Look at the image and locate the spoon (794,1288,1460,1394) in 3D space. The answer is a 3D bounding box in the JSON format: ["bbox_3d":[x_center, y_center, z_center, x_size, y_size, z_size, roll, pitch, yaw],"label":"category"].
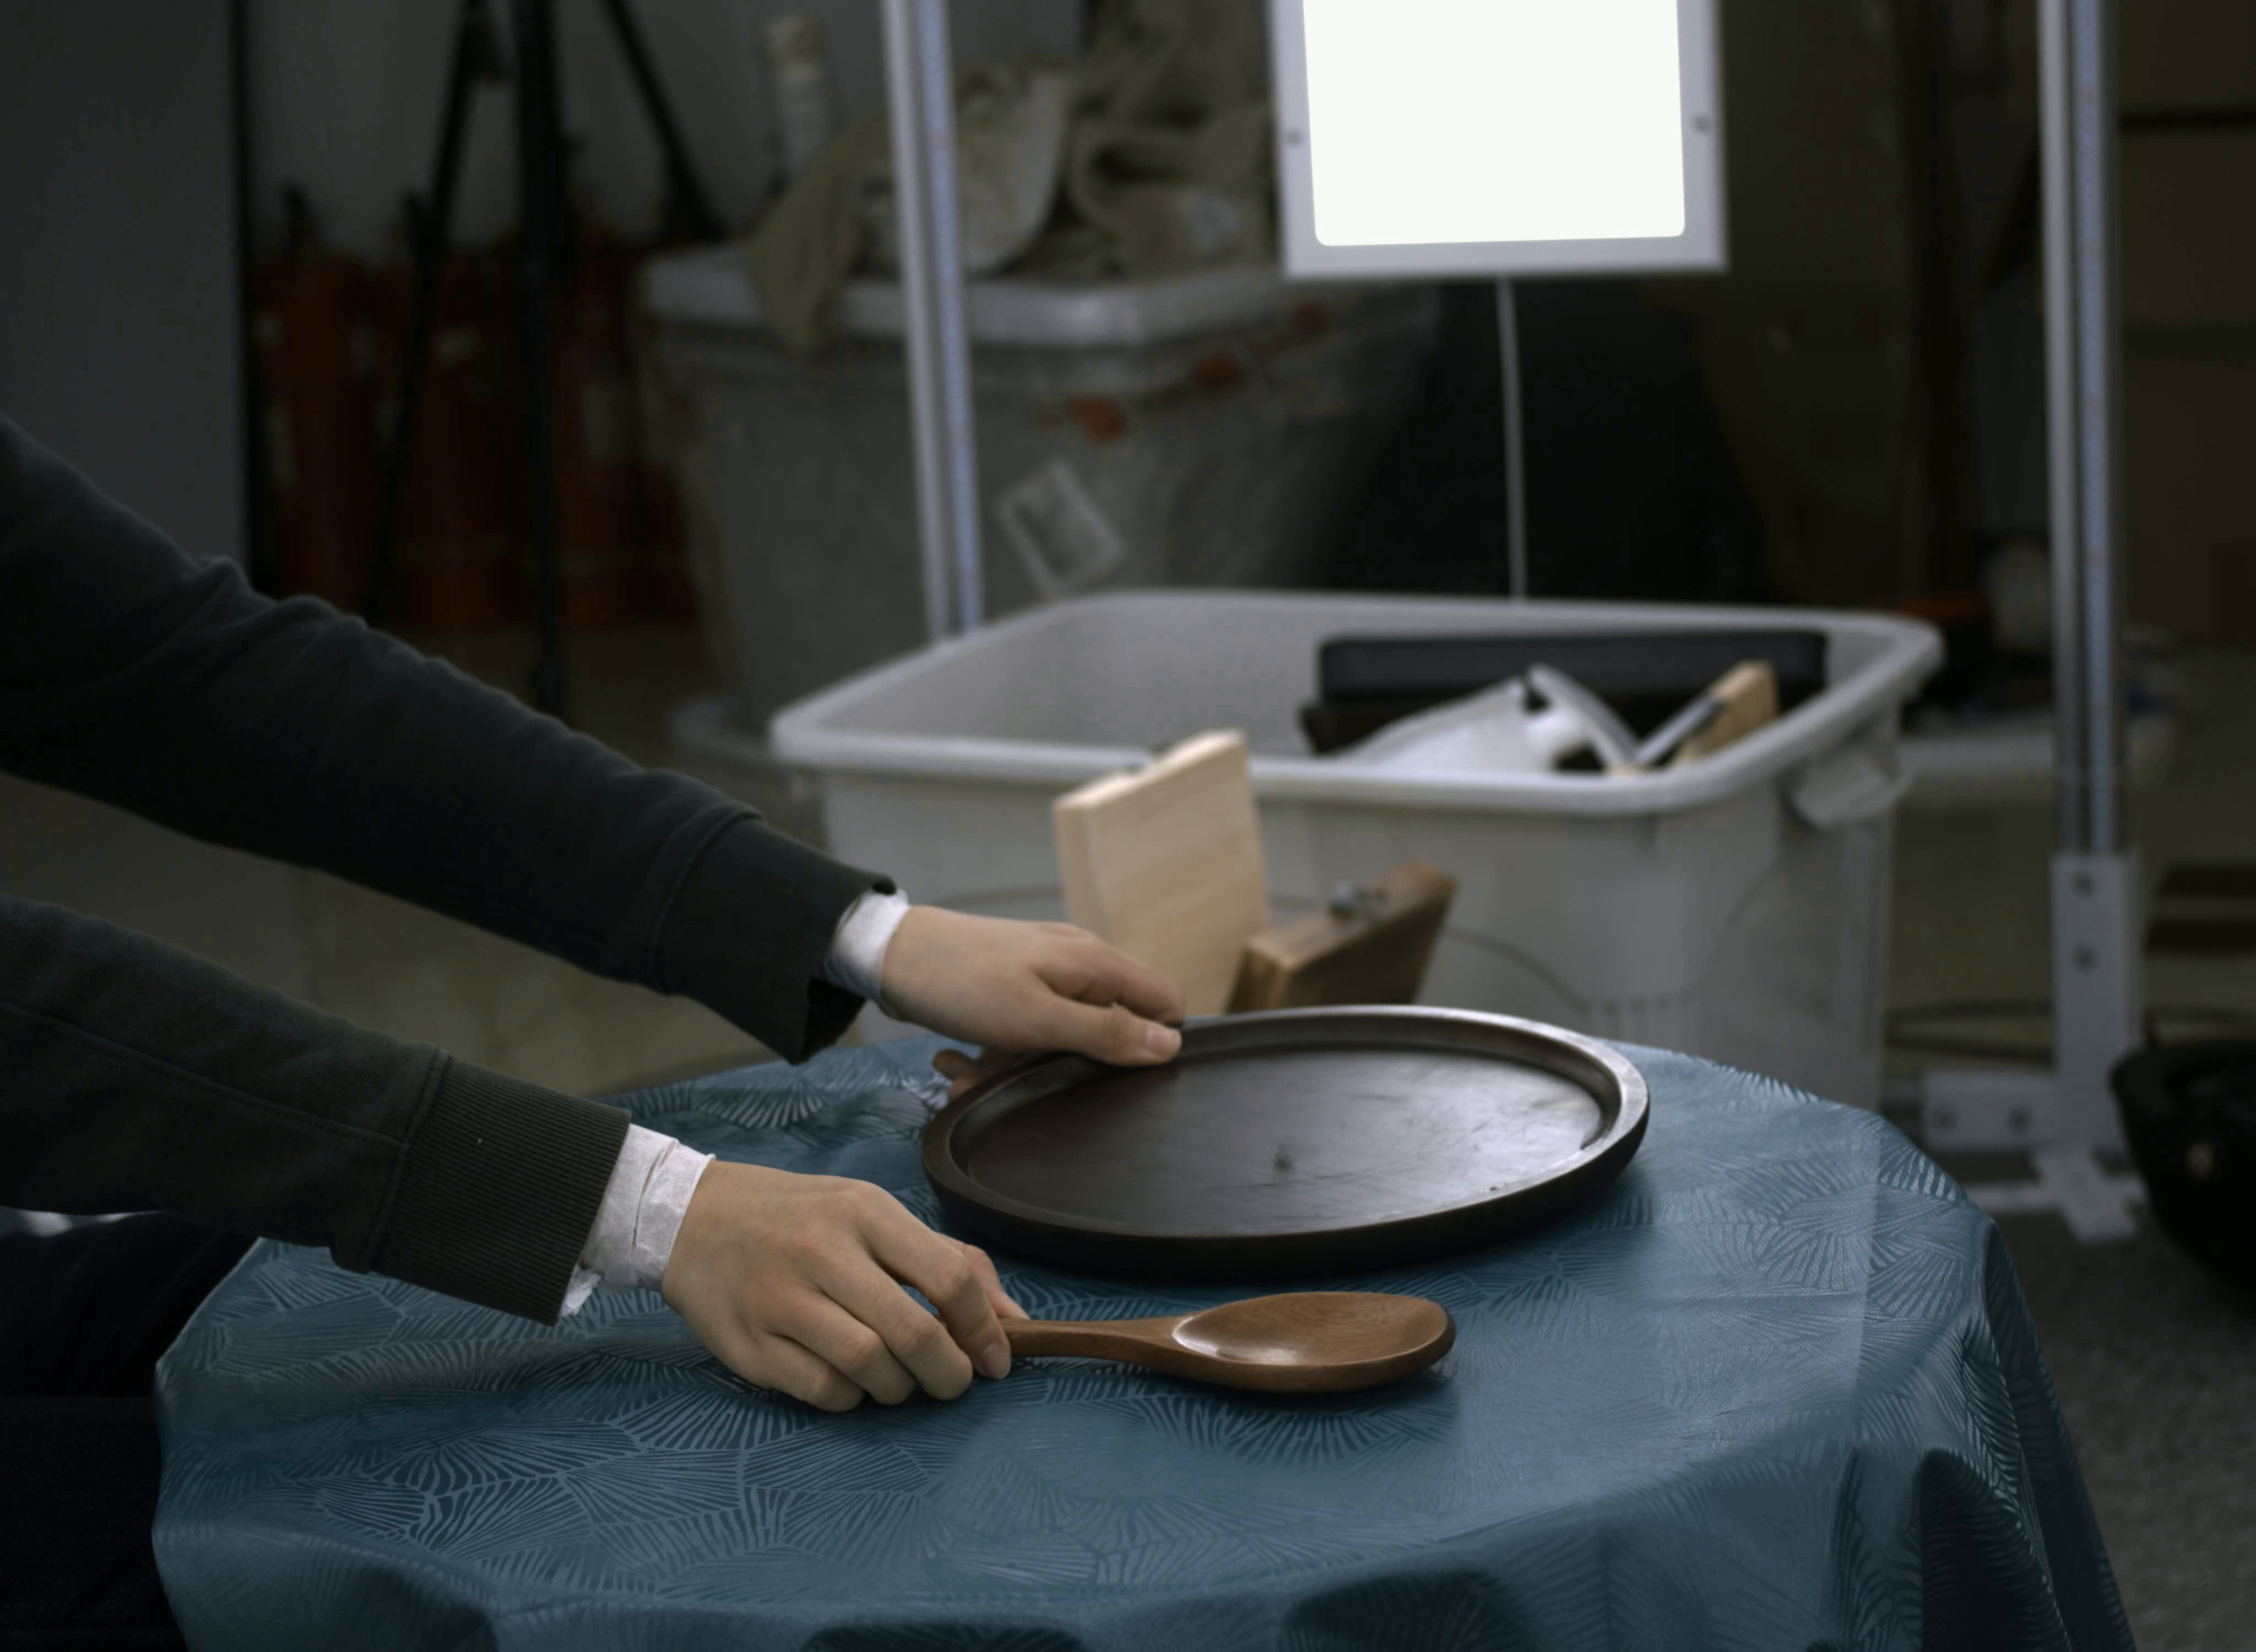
[{"bbox_3d":[-0.001,0.161,1.720,0.218,0.017,0.074,0,15,19],"label":"spoon"}]

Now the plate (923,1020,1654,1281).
[{"bbox_3d":[0.055,0.109,1.896,0.254,0.029,0.254,-4,14,0],"label":"plate"}]
